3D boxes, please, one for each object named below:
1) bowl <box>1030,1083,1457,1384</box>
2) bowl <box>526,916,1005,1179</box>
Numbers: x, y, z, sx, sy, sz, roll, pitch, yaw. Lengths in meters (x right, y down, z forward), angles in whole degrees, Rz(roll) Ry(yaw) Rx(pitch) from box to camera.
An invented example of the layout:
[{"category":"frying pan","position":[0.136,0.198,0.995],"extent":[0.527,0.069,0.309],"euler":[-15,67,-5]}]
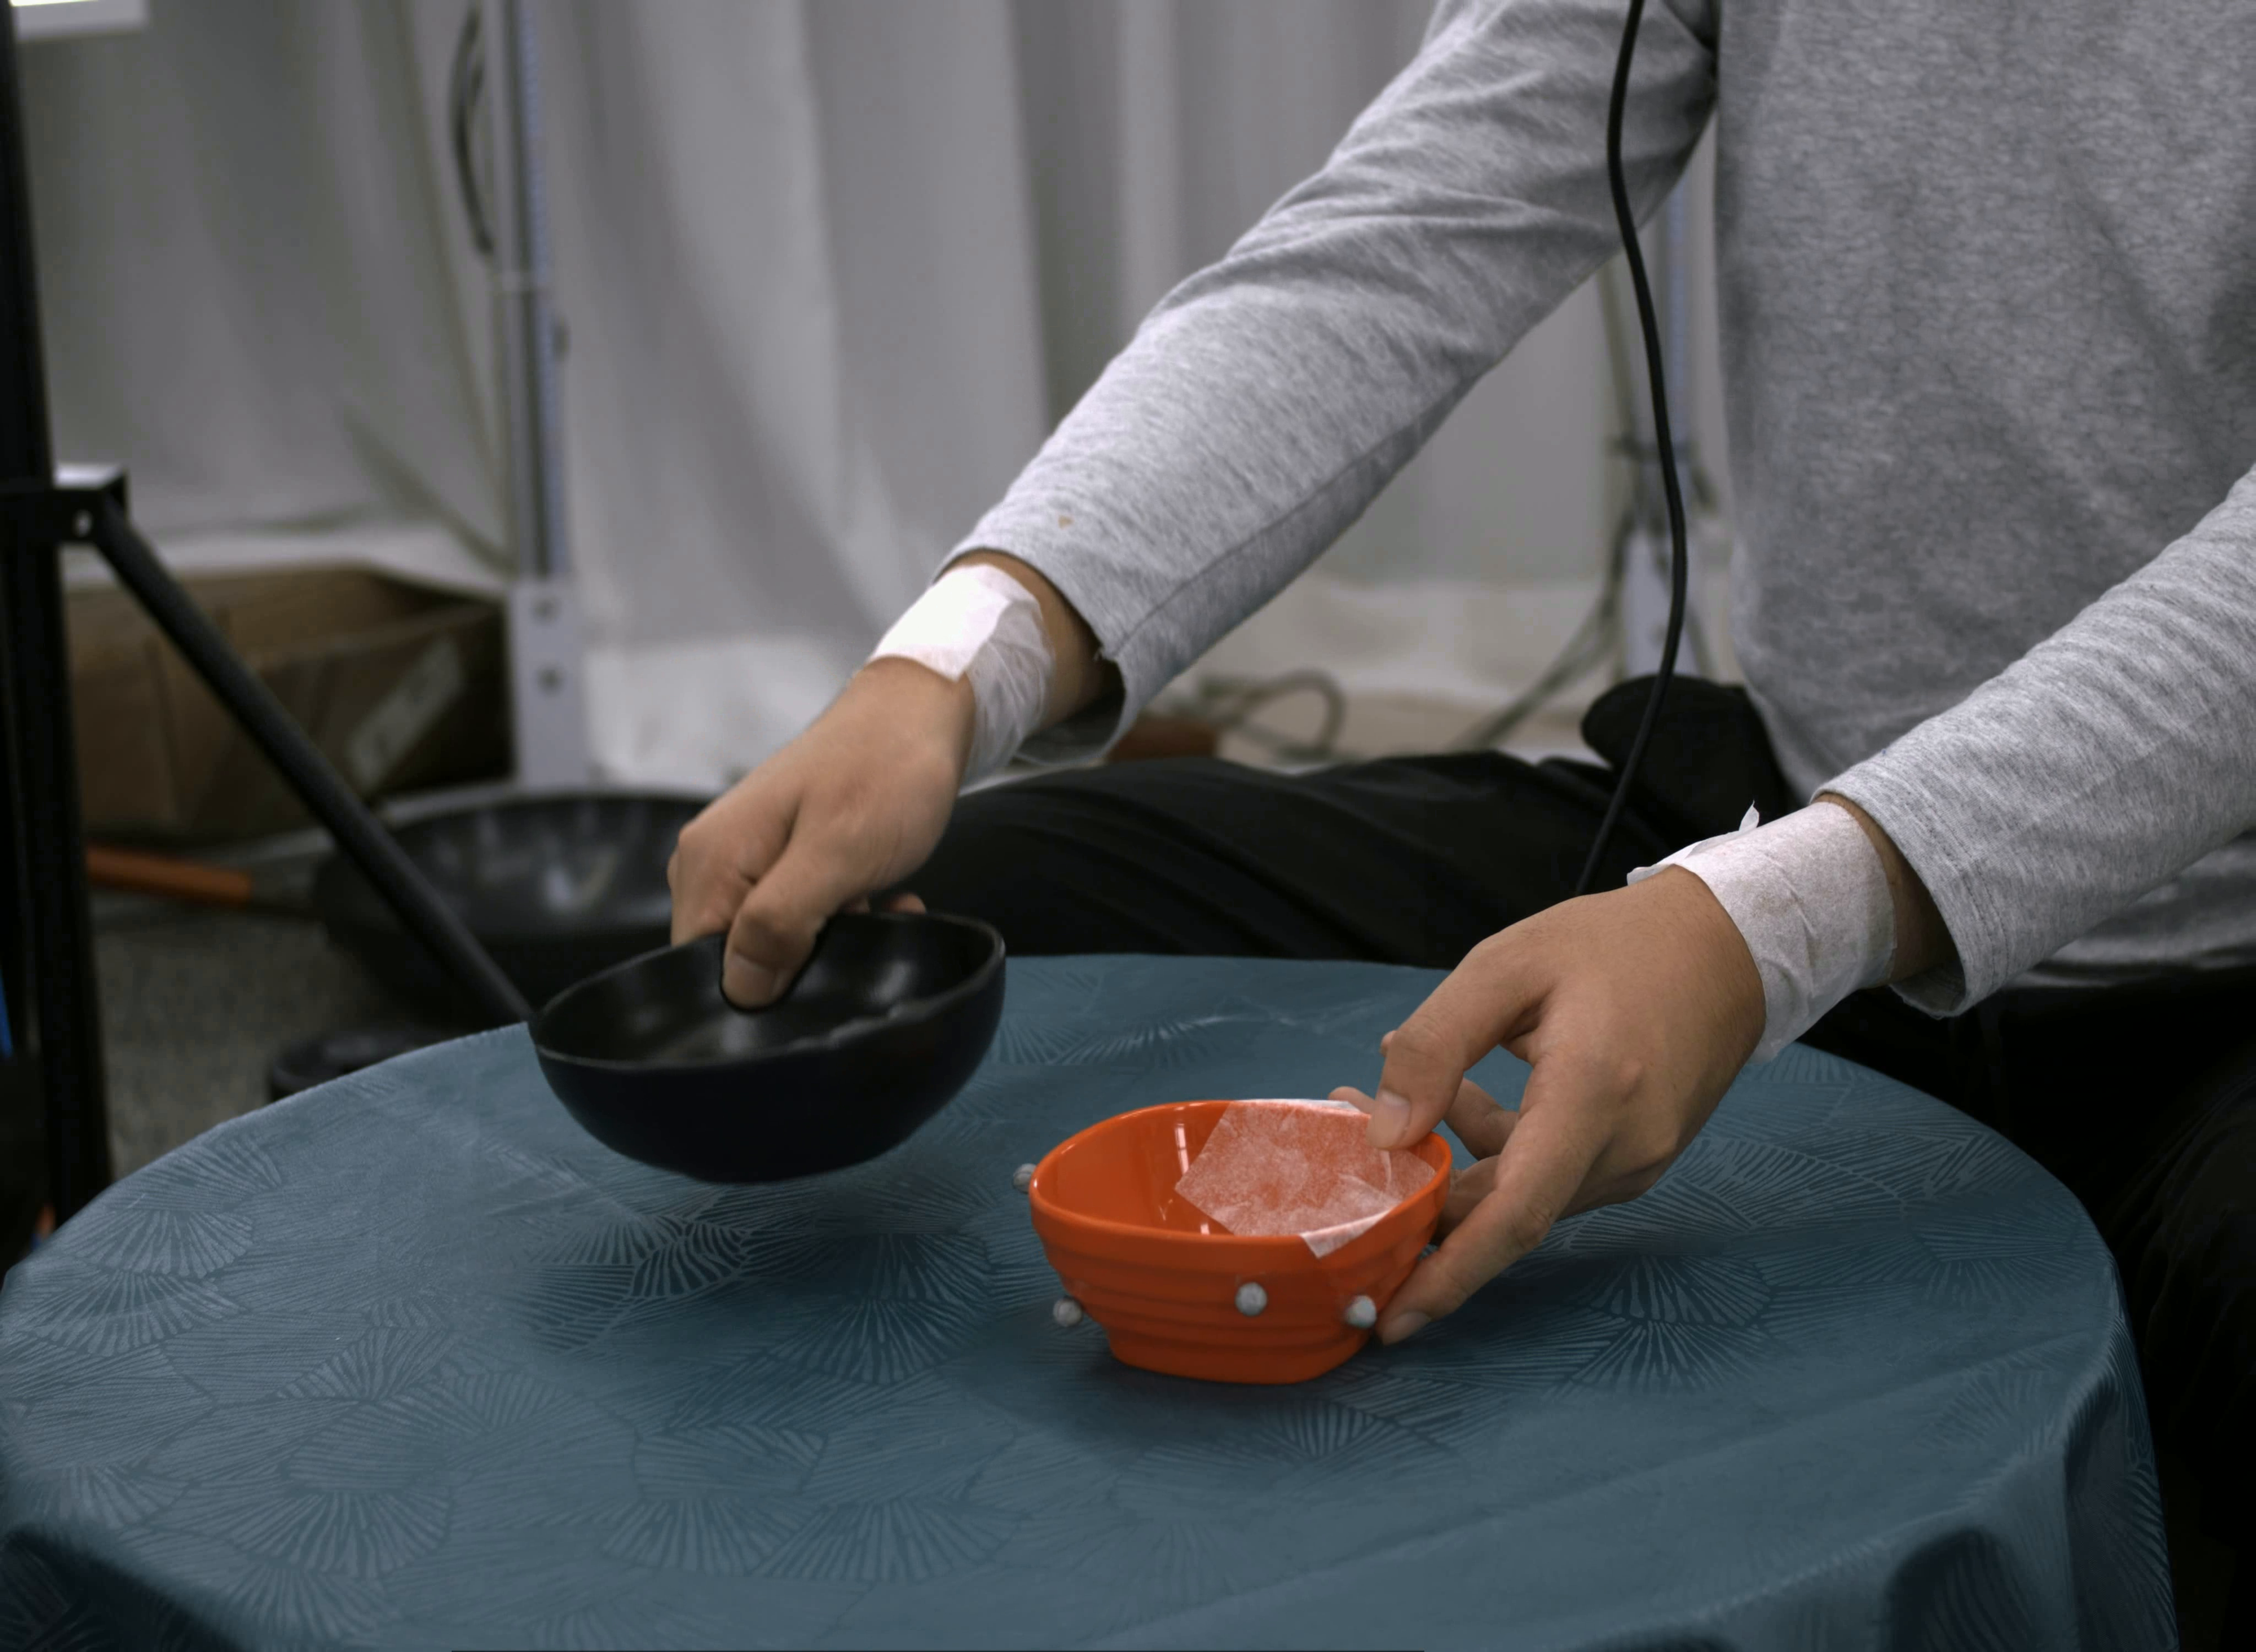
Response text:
[{"category":"bowl","position":[0.033,0.113,1.434],"extent":[0.118,0.051,0.119],"euler":[-5,18,0]},{"category":"bowl","position":[-0.100,0.068,1.525],"extent":[0.139,0.050,0.140],"euler":[-8,12,0]}]
